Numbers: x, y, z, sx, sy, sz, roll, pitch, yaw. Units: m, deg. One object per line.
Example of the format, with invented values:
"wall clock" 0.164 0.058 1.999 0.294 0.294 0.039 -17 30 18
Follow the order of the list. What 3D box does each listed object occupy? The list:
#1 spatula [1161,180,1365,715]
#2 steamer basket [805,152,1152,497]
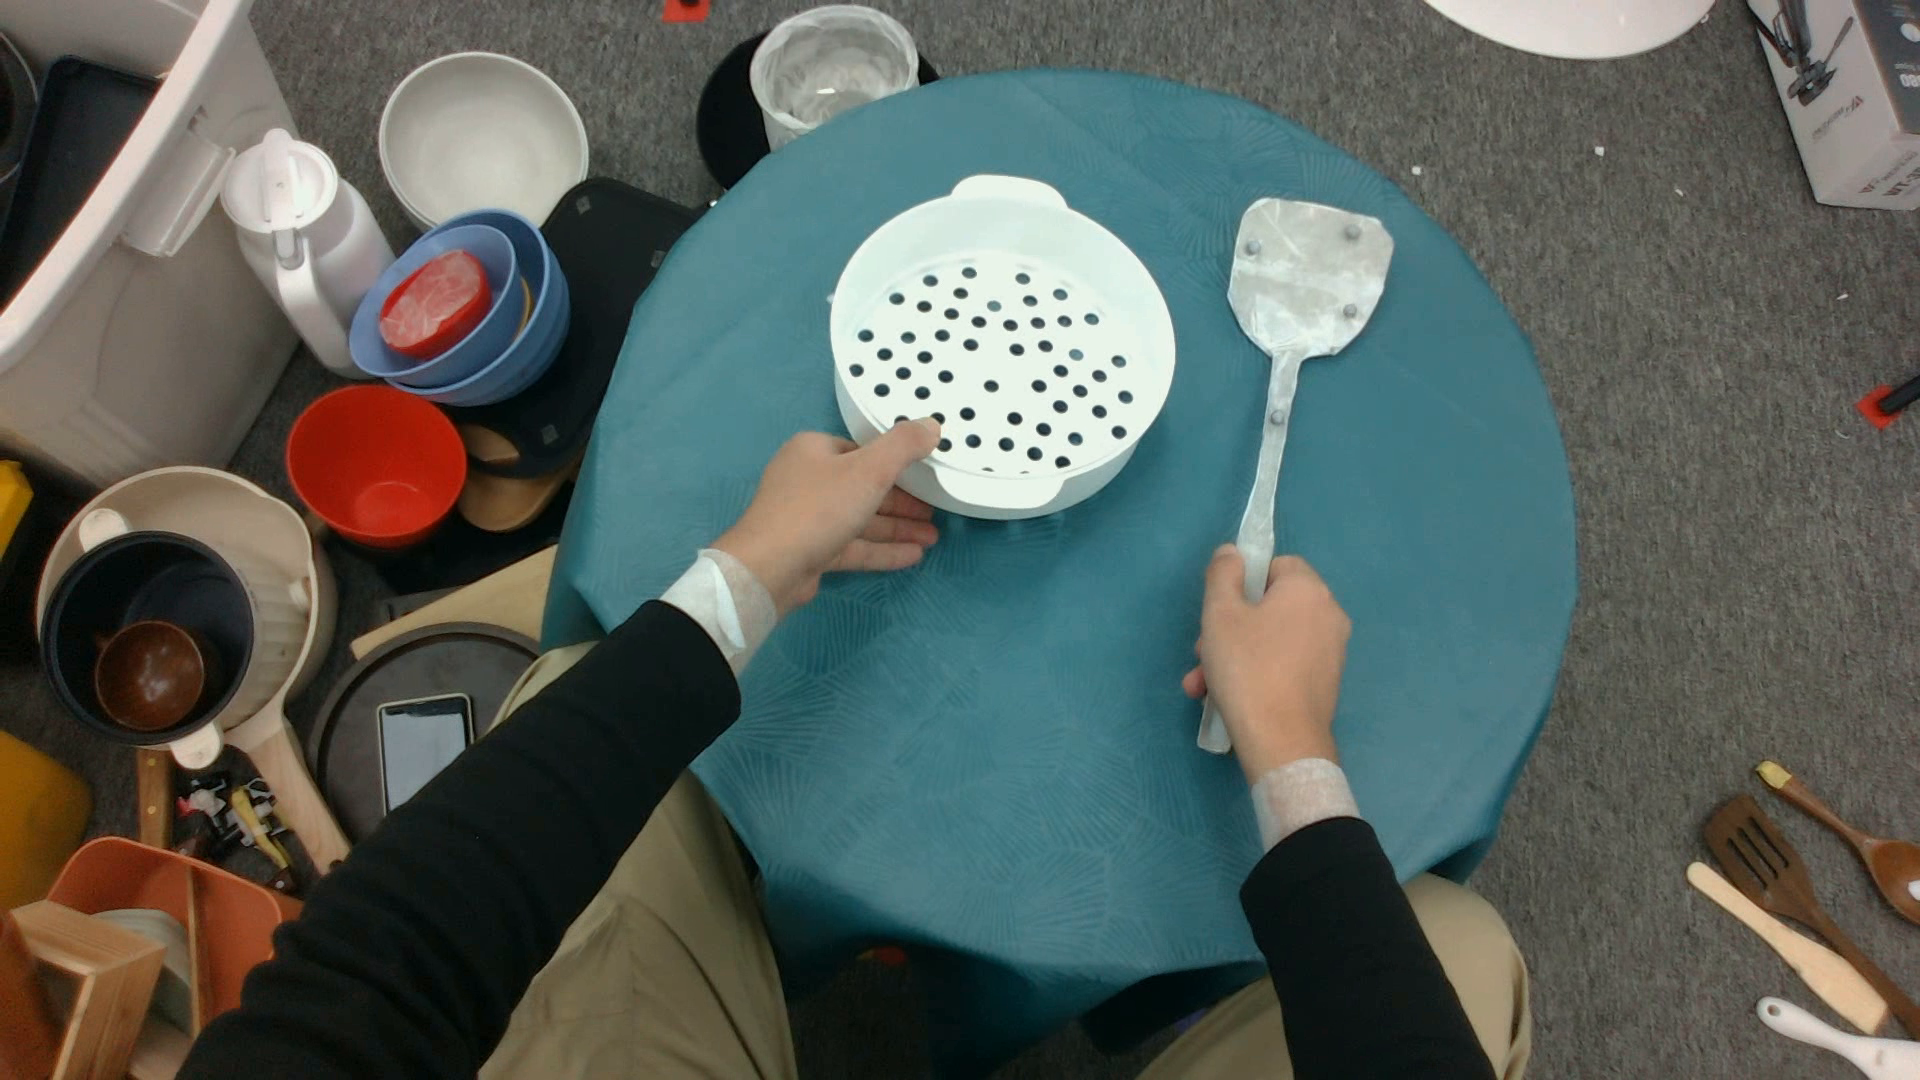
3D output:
"spatula" 0.170 -0.065 0.822 0.098 0.044 0.366 16 62 2
"steamer basket" 0.009 -0.122 0.819 0.202 0.069 0.231 5 64 -5
